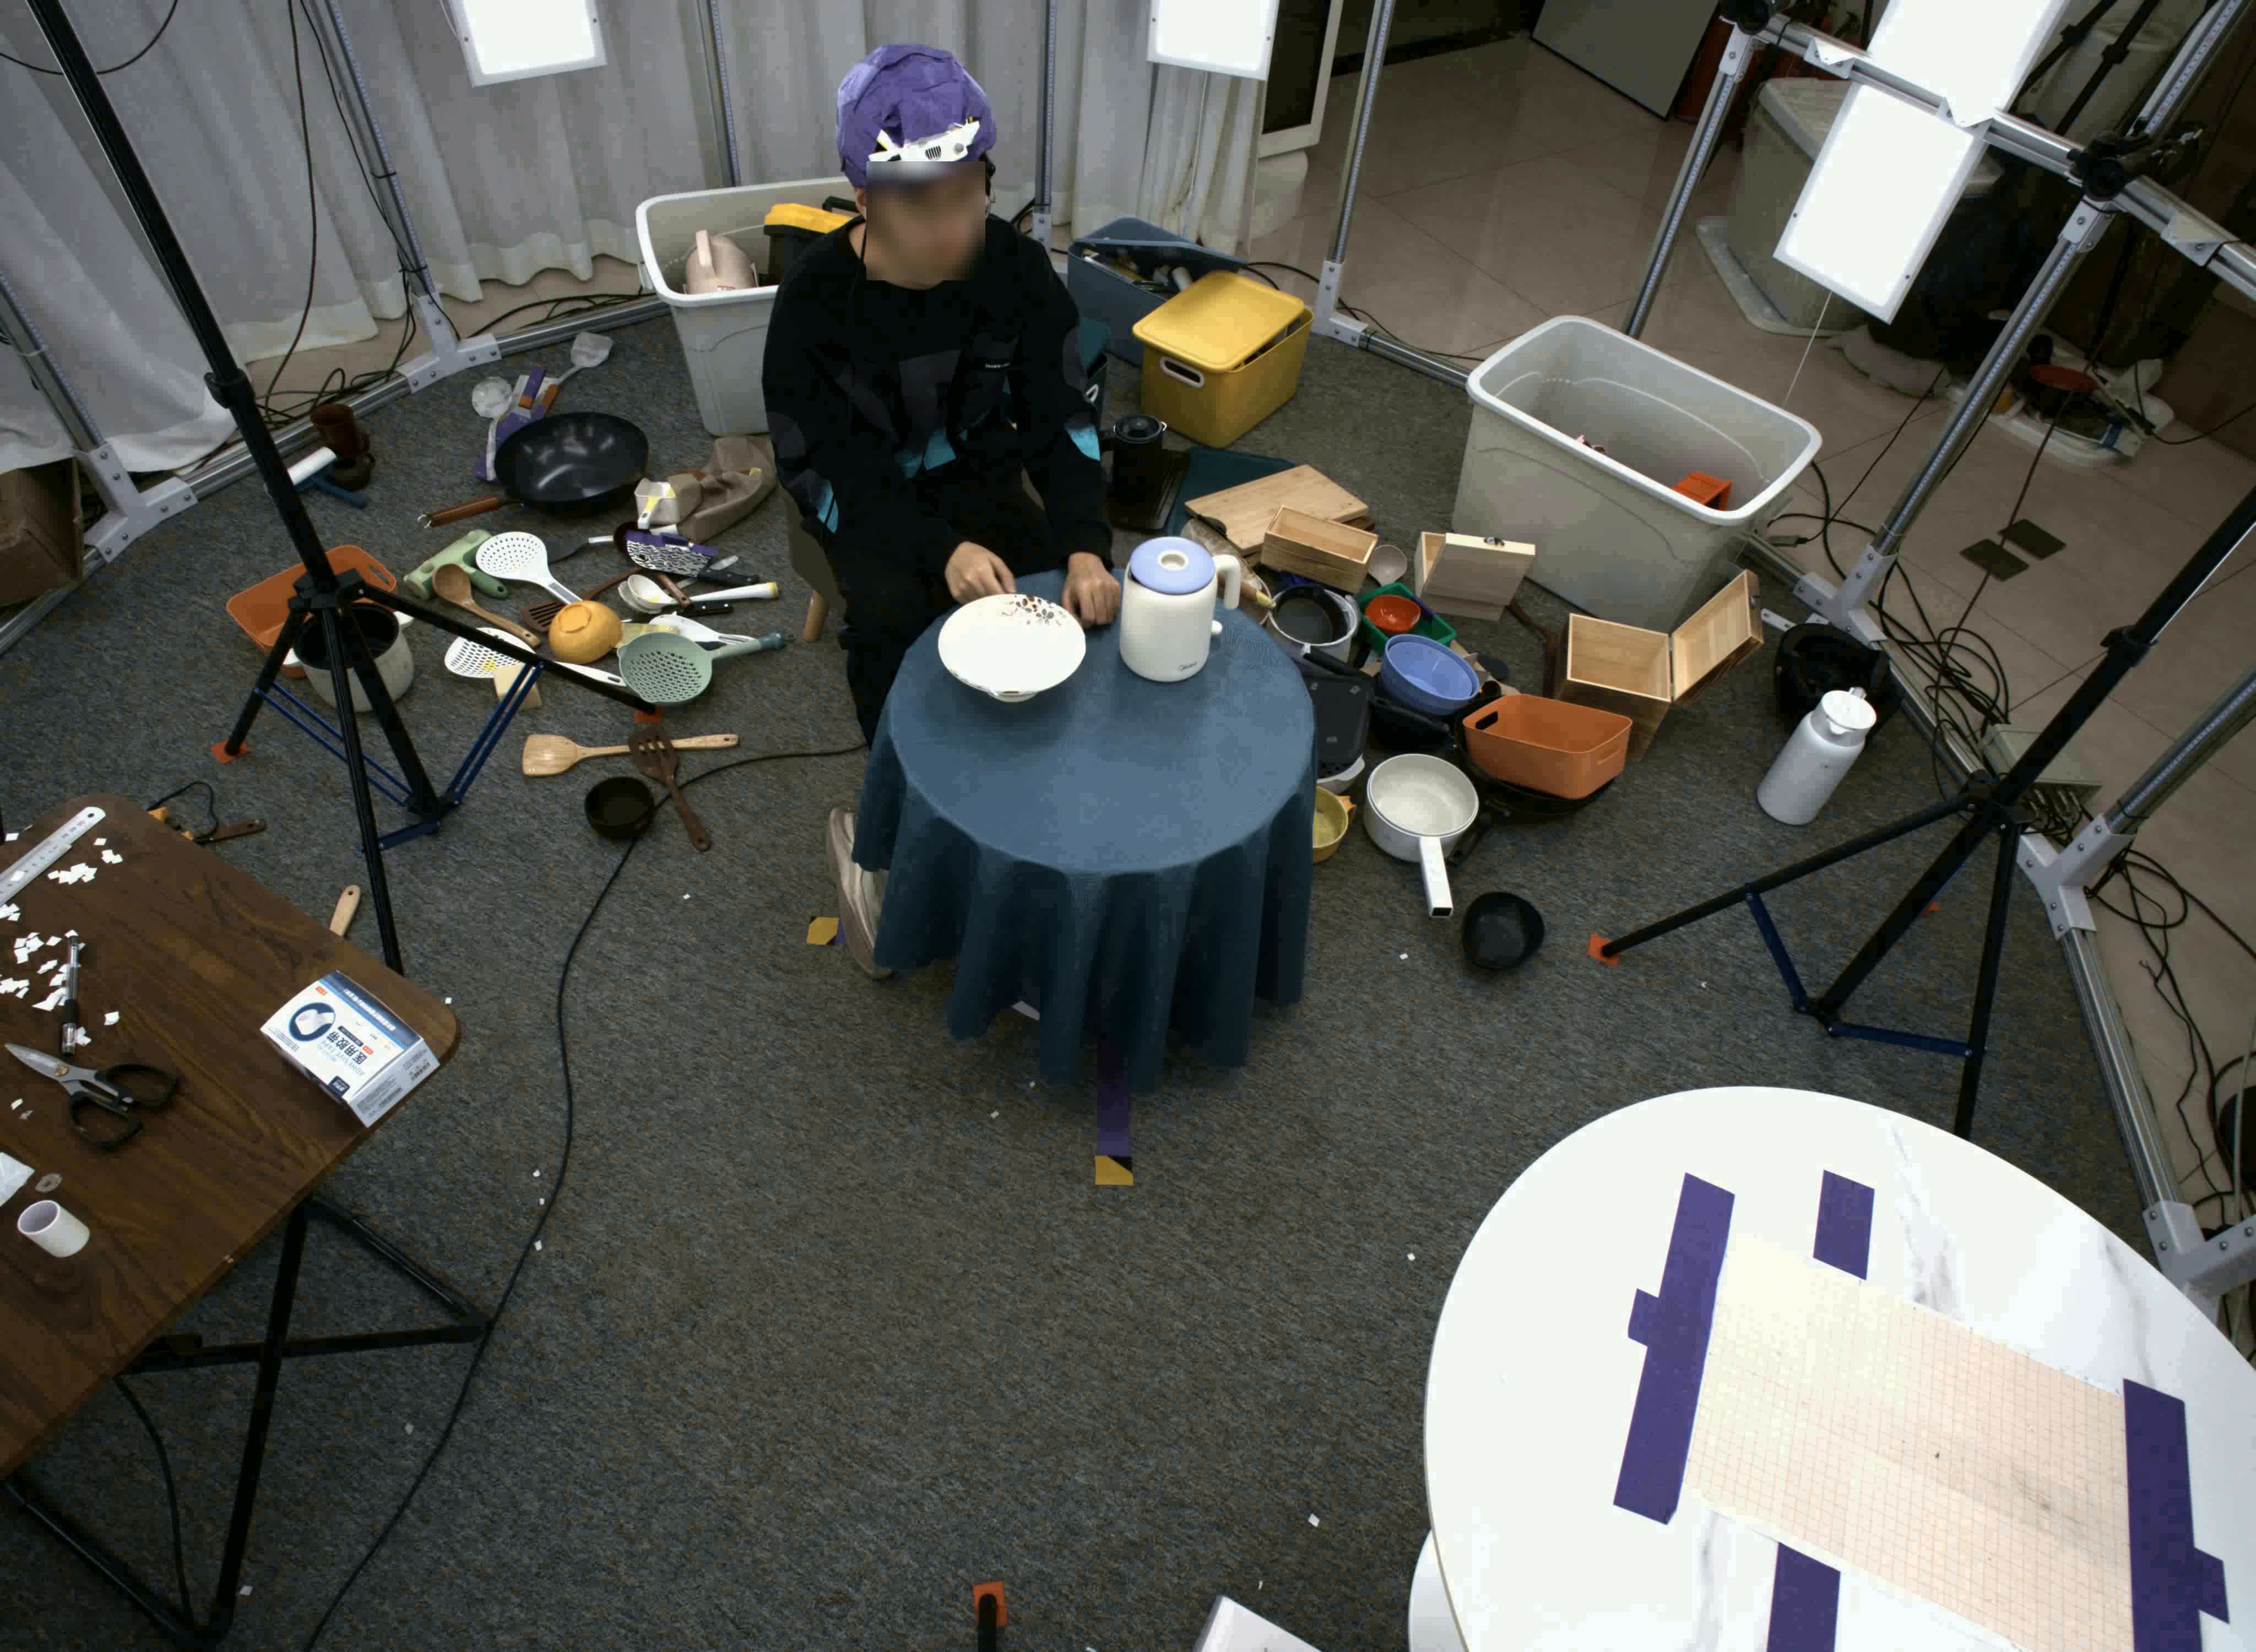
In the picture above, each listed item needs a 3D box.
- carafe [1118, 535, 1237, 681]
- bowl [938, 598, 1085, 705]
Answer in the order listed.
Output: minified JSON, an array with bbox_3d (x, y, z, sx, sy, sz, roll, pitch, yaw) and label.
[{"bbox_3d":[0.077,-0.317,1.838,0.191,0.178,0.135,-21,55,-23],"label":"carafe"},{"bbox_3d":[-0.162,-0.228,1.808,0.204,0.076,0.209,2,46,-2],"label":"bowl"}]
